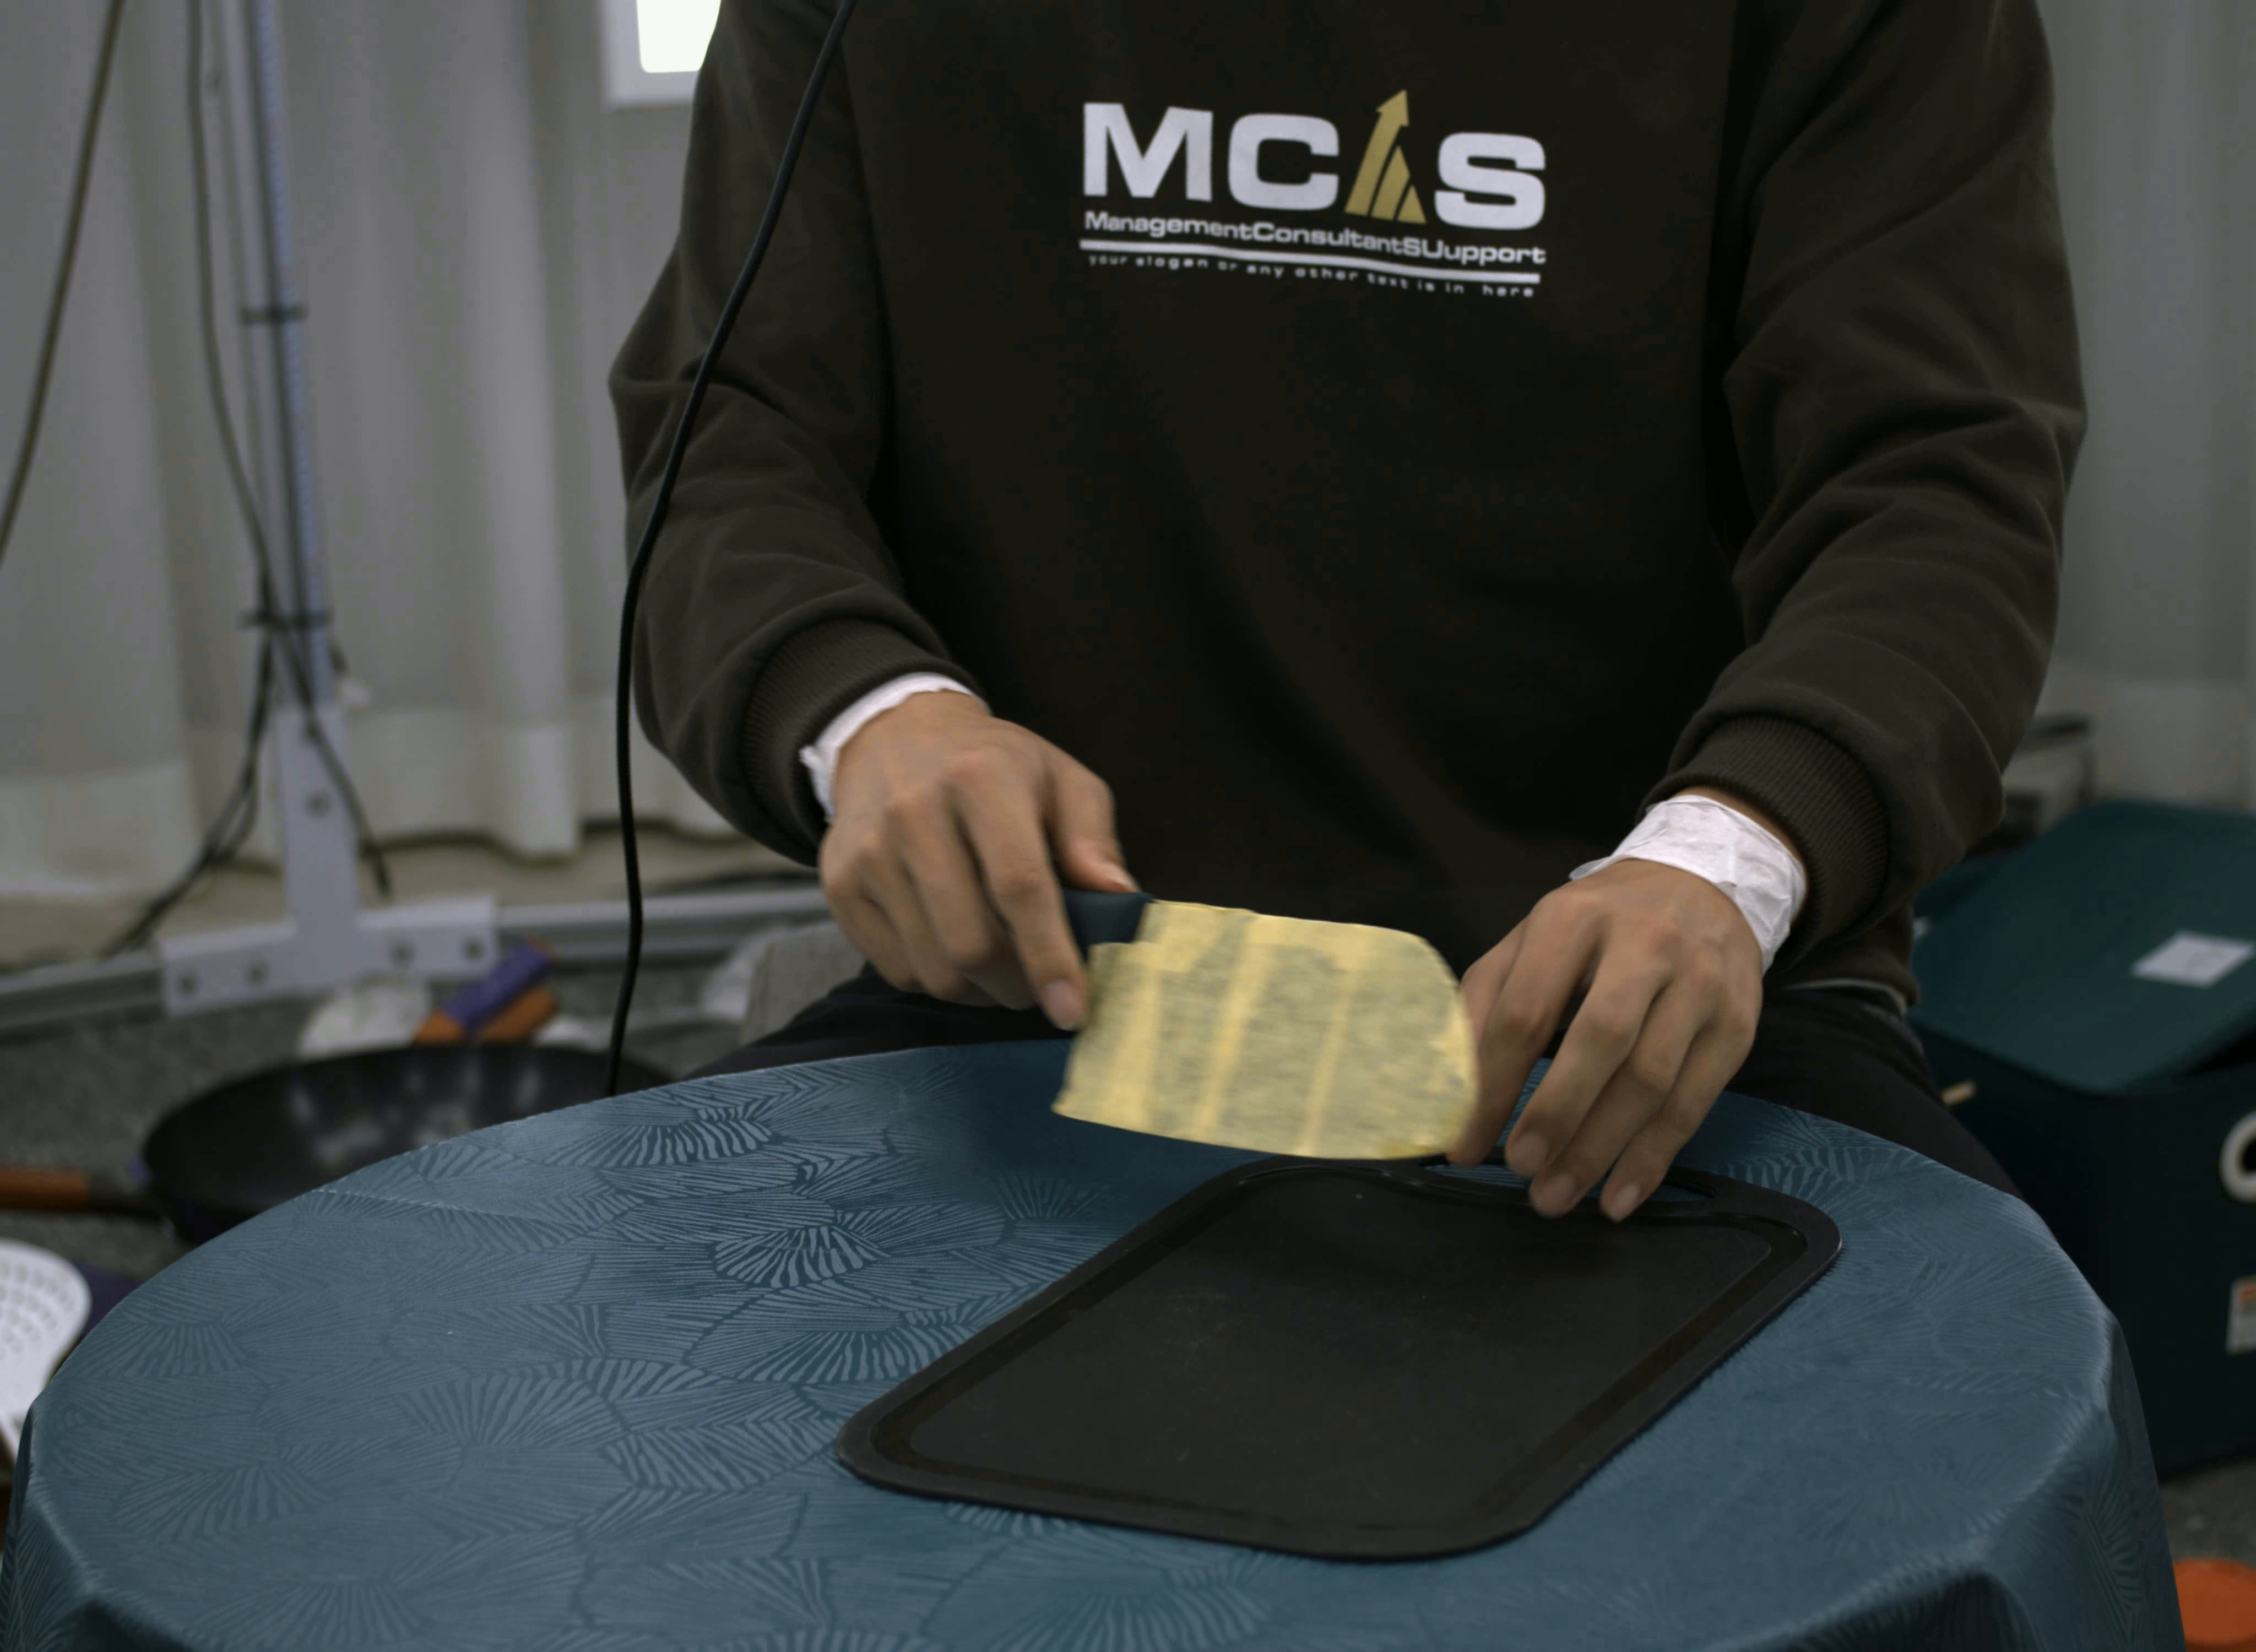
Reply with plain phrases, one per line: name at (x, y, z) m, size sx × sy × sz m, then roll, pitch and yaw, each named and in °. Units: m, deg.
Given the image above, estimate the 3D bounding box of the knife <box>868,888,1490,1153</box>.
knife at (0.010, 0.057, 1.680) m, size 0.027 × 0.081 × 0.291 m, roll 28°, pitch -12°, yaw -39°

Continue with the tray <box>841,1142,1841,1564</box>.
tray at (0.070, 0.143, 1.582) m, size 0.211 × 0.010 × 0.326 m, roll 5°, pitch 17°, yaw 28°
